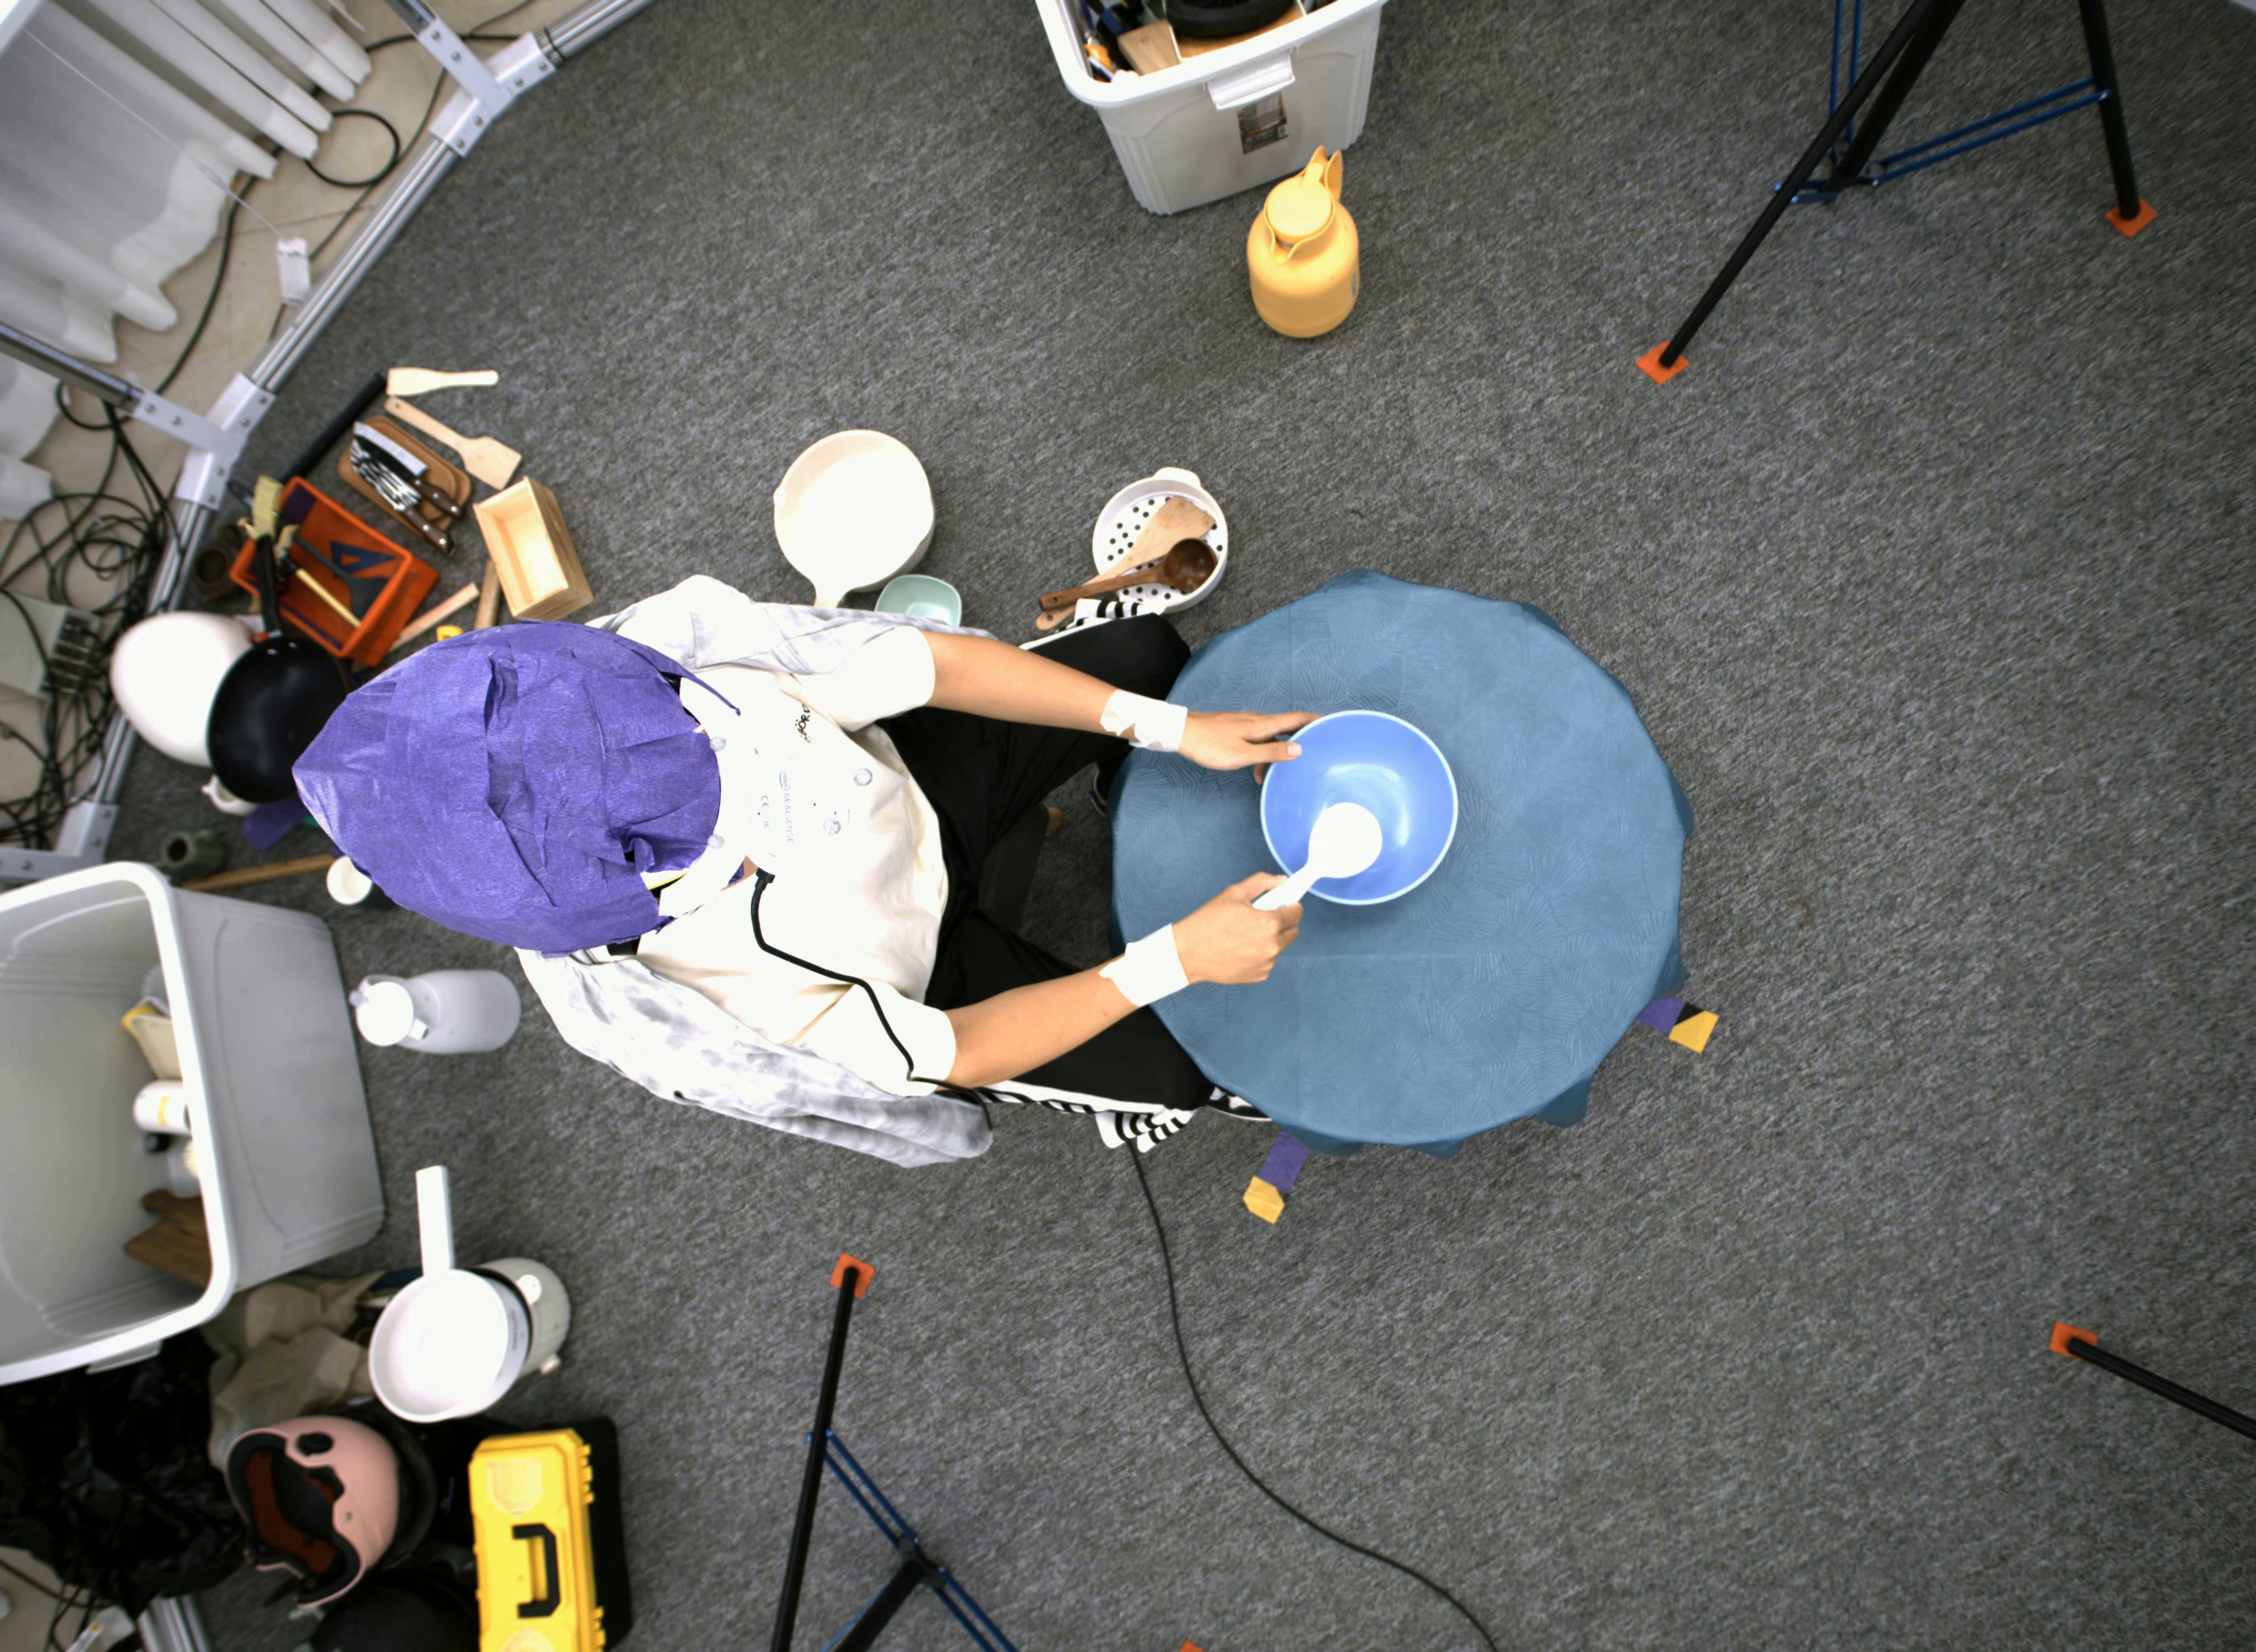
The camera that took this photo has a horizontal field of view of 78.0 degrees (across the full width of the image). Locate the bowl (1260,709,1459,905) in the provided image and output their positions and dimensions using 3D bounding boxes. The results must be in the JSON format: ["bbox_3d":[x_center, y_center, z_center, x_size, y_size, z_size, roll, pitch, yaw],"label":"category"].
[{"bbox_3d":[0.237,-0.017,1.419,0.197,0.095,0.196,-1,87,9],"label":"bowl"}]

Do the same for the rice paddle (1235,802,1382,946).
[{"bbox_3d":[0.182,0.044,1.359,0.201,0.030,0.069,-40,91,-26],"label":"rice paddle"}]
